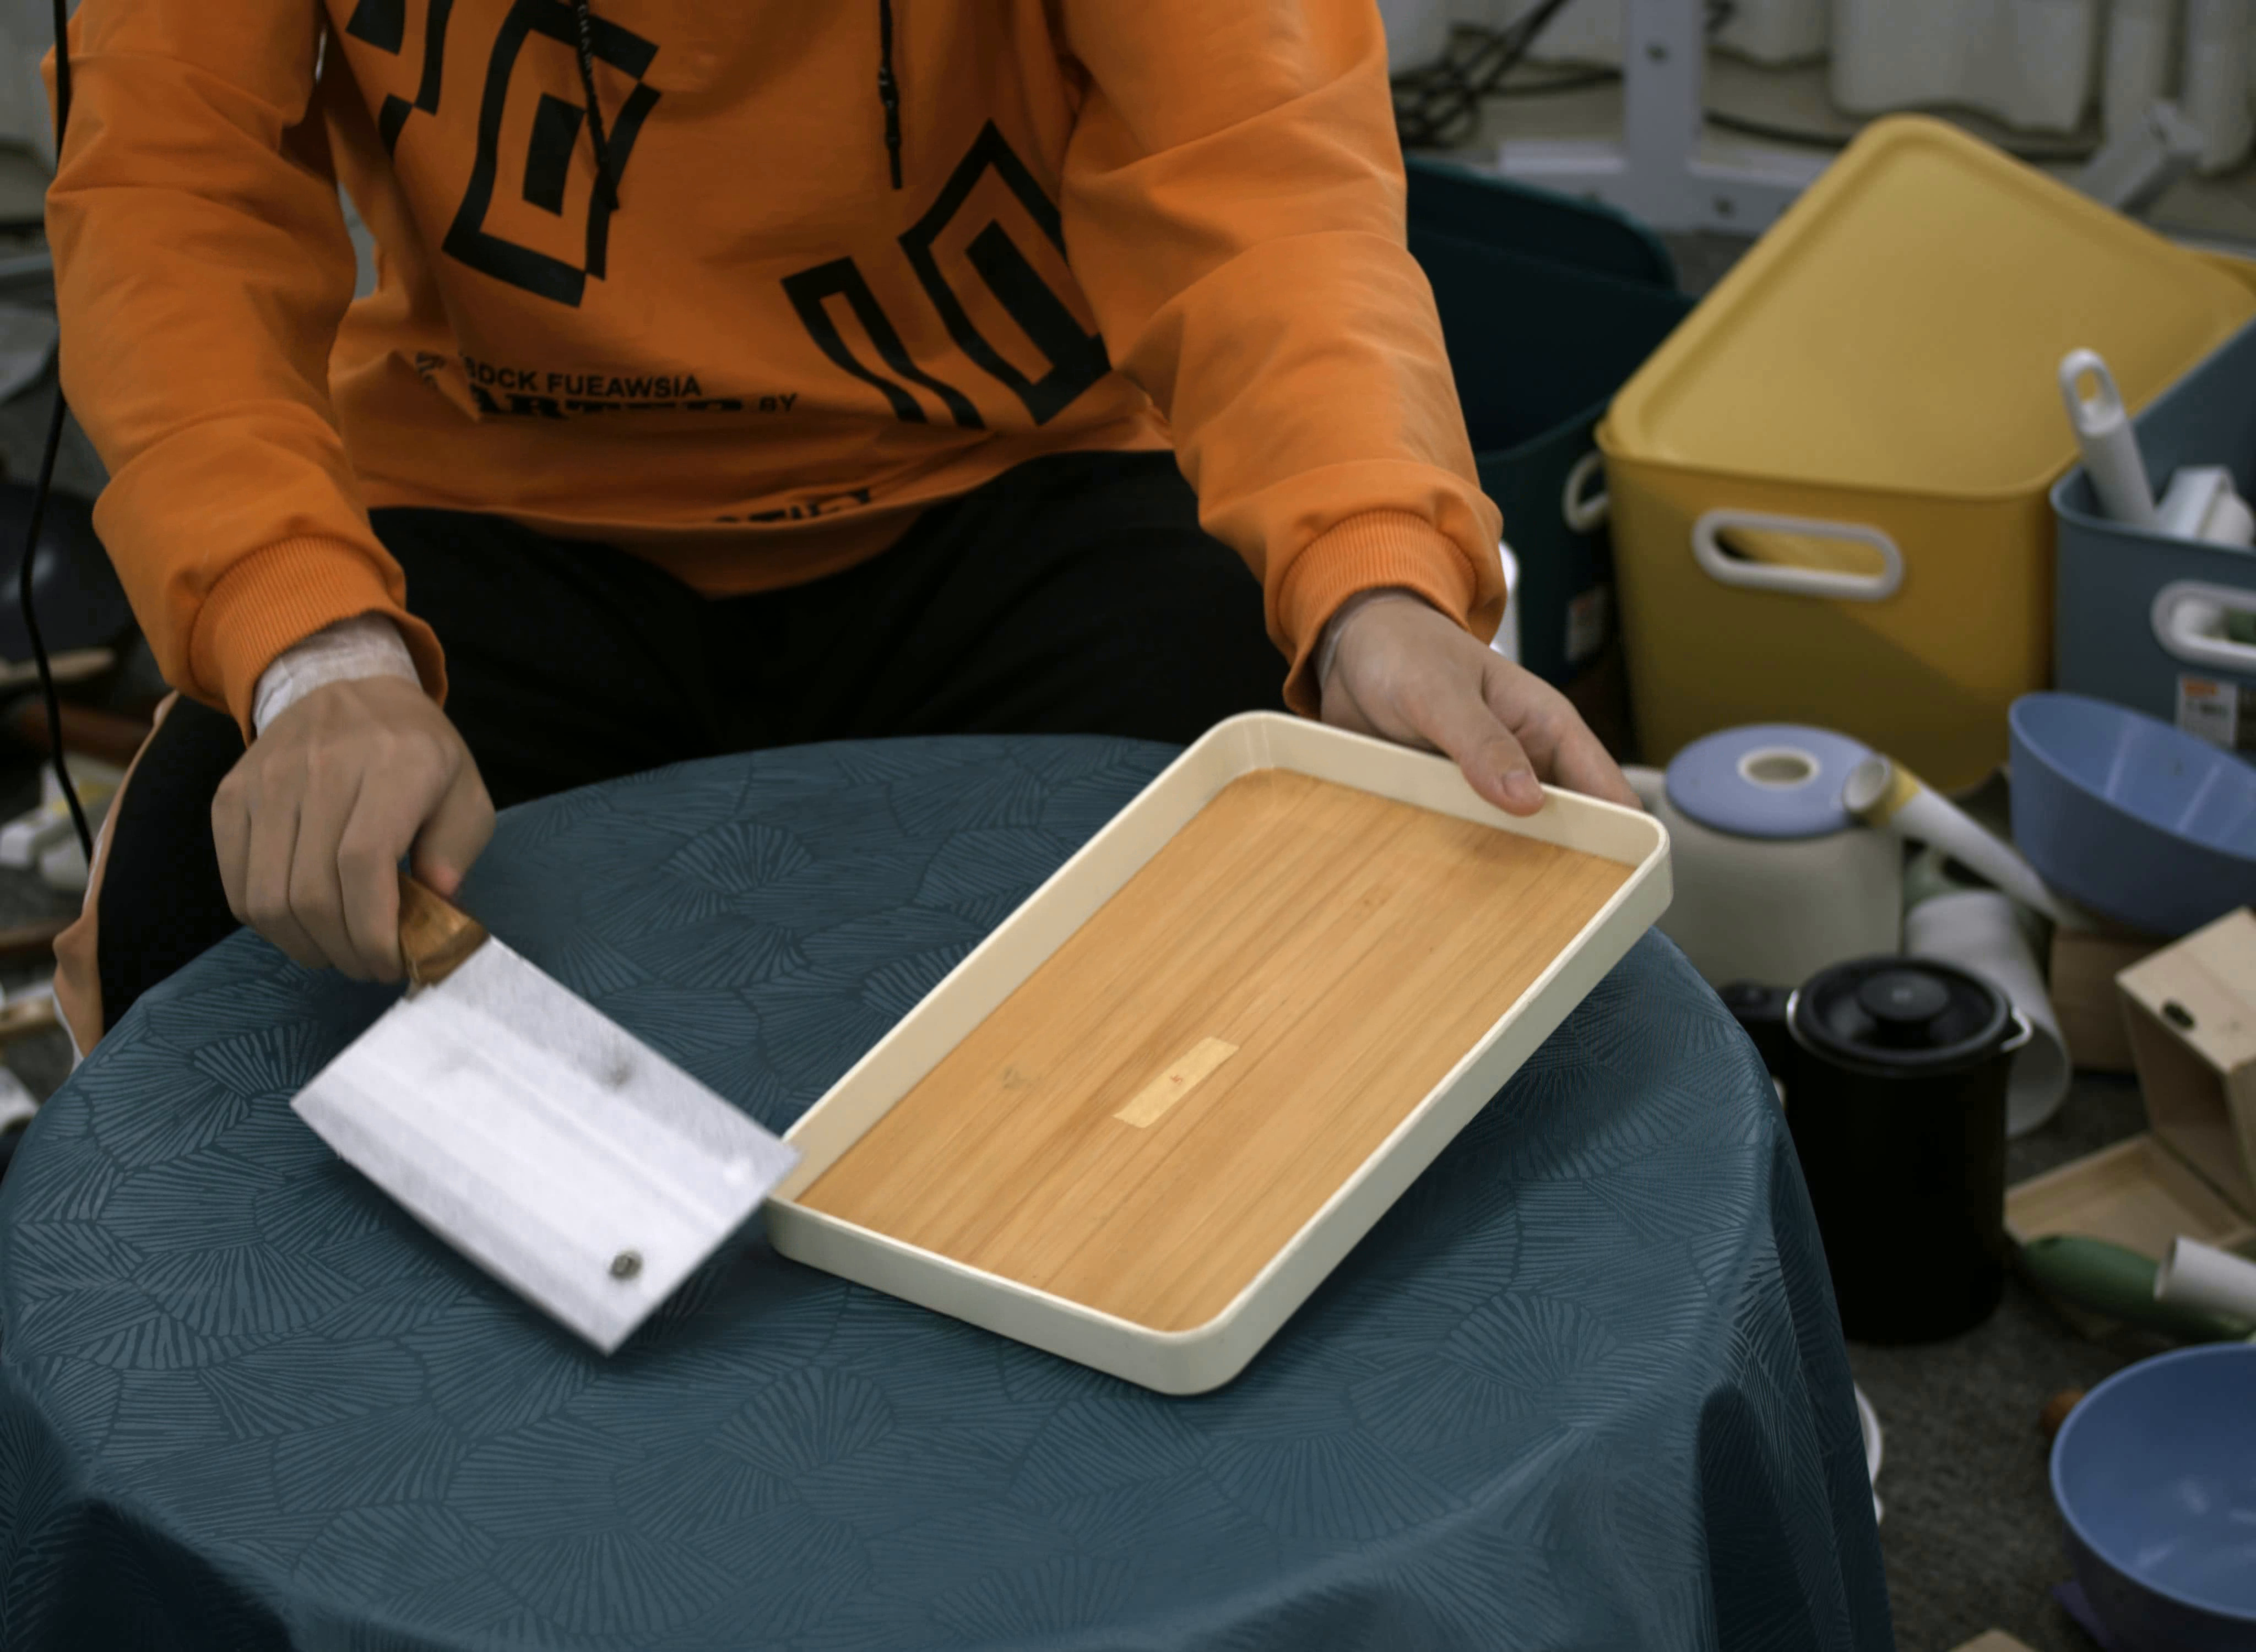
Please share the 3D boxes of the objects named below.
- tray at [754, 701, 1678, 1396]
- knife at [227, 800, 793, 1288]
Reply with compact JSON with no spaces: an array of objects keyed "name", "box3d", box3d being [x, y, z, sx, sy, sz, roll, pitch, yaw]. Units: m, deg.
[{"name":"tray","box3d":[0.033,0.067,1.881,0.191,0.027,0.305,17,43,32]},{"name":"knife","box3d":[-0.229,0.074,1.885,0.094,0.021,0.306,-44,44,-17]}]
